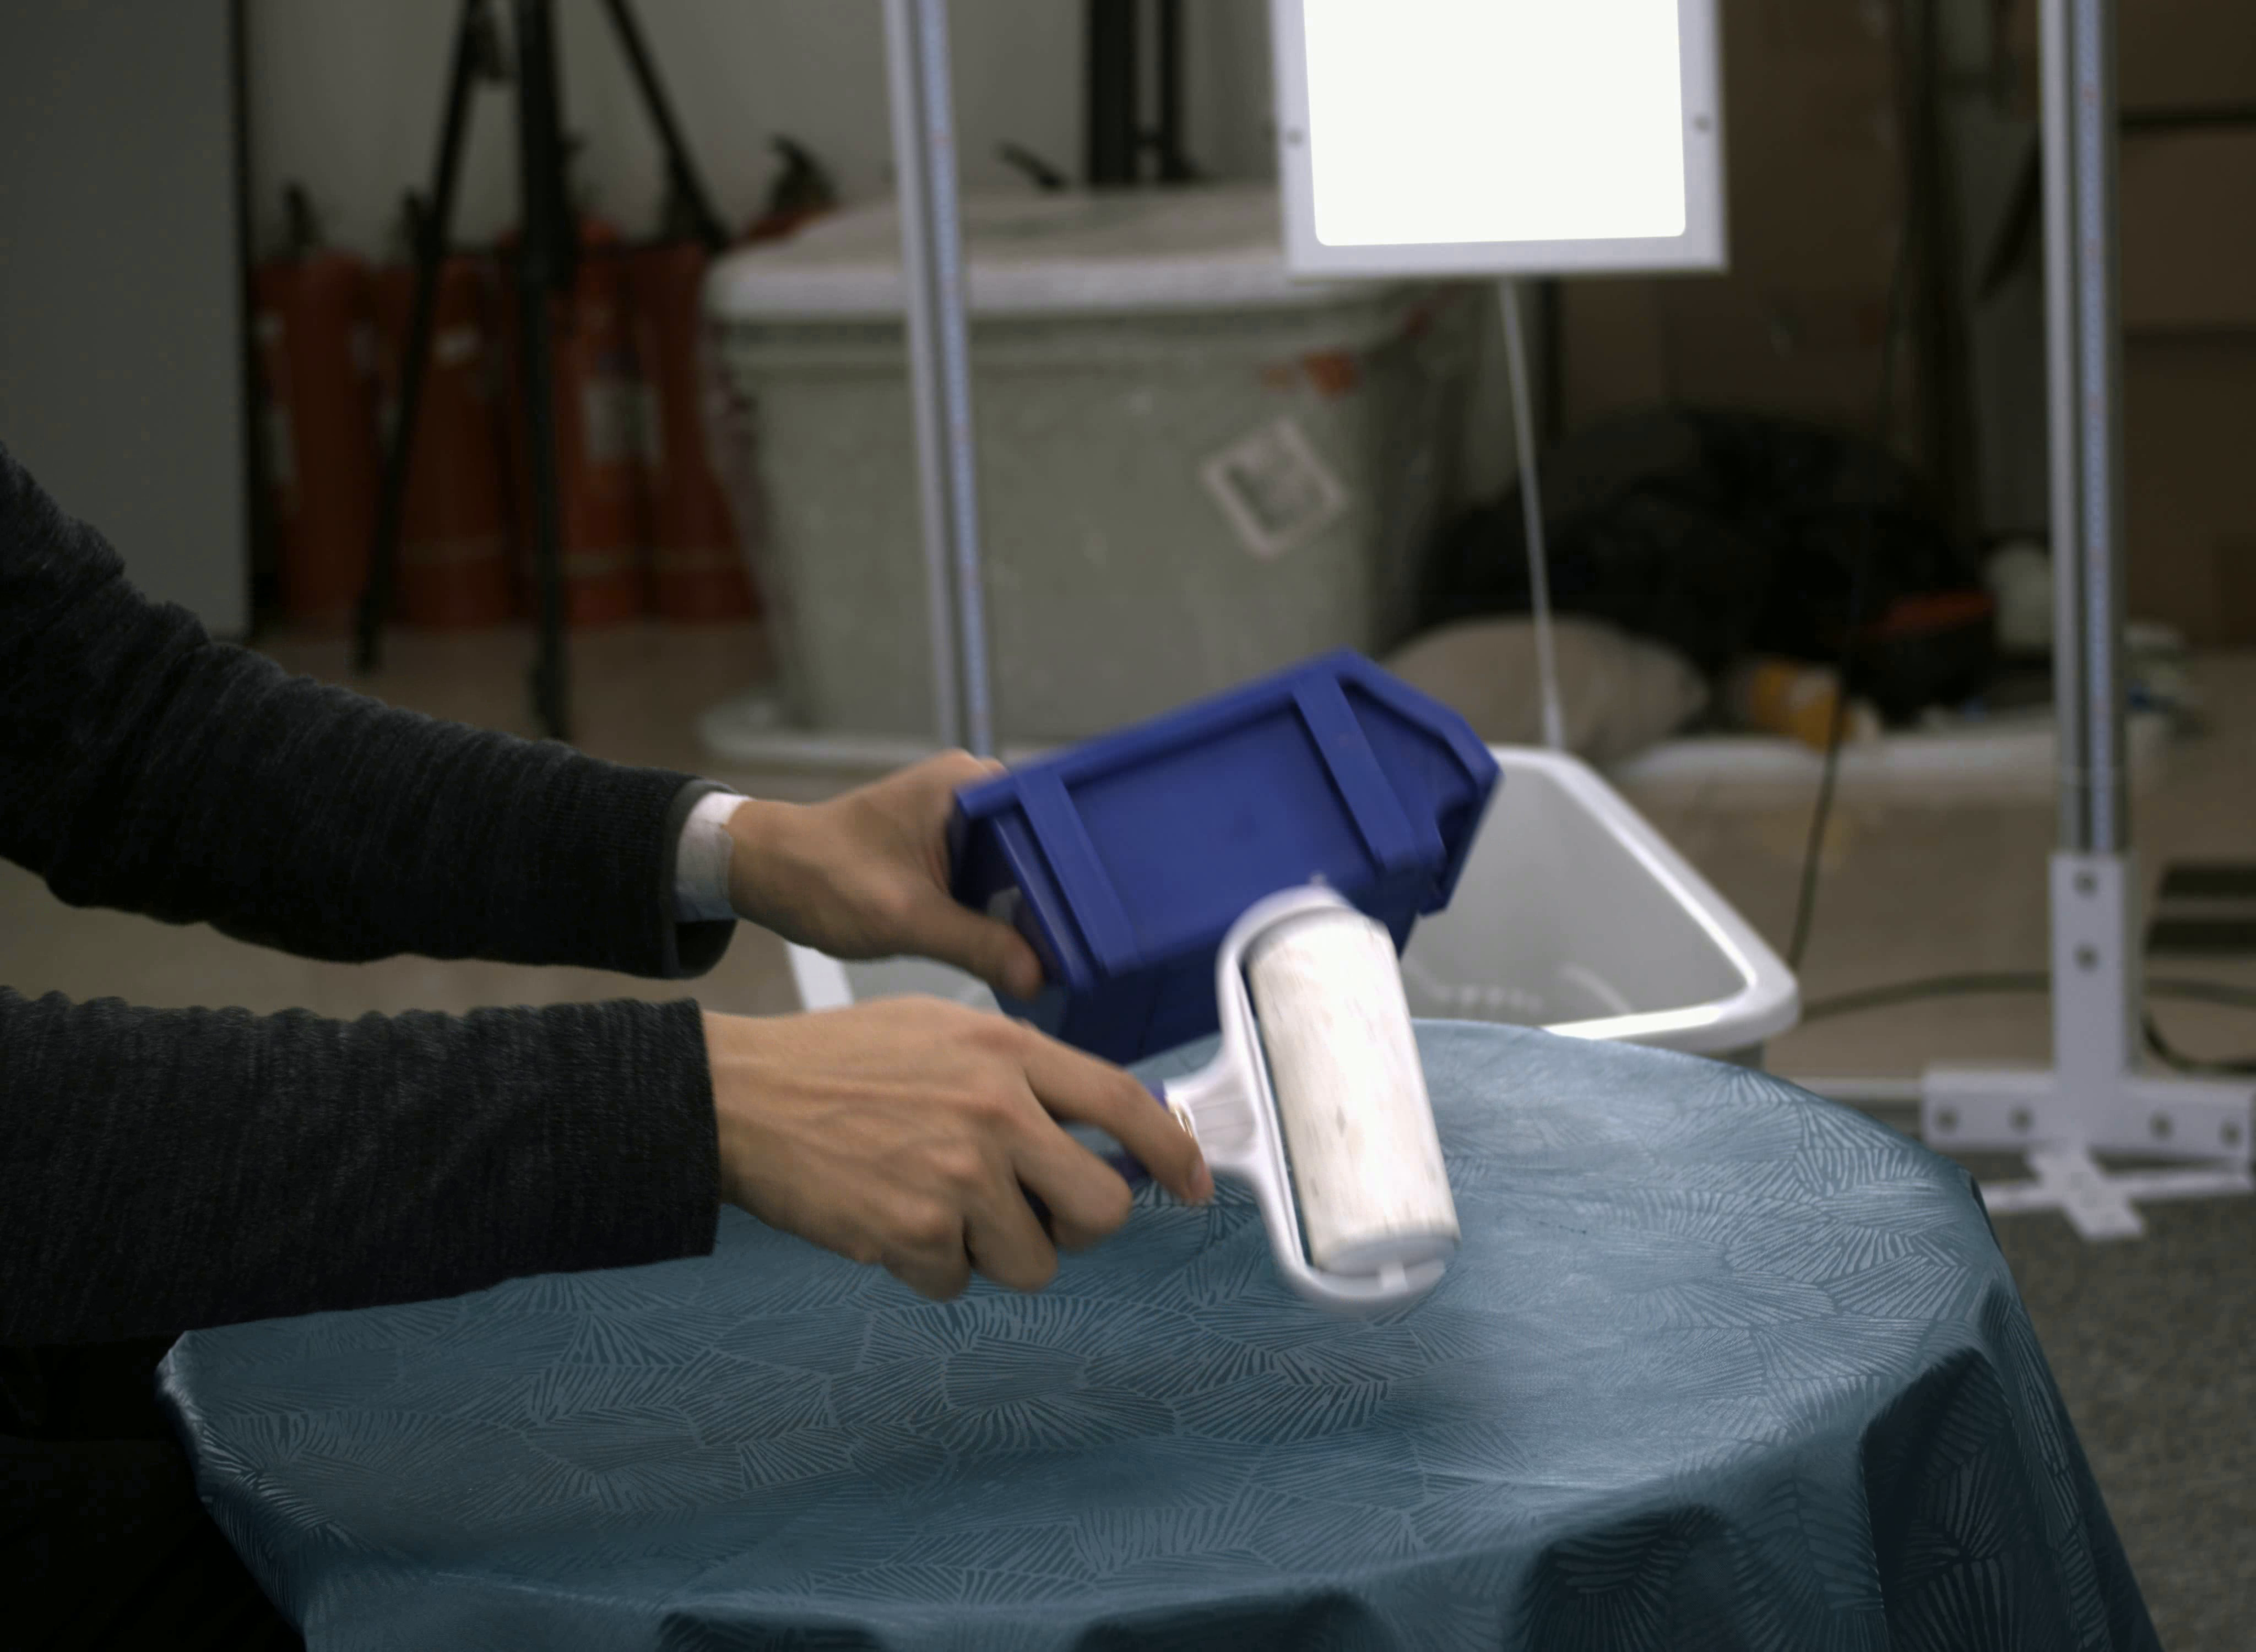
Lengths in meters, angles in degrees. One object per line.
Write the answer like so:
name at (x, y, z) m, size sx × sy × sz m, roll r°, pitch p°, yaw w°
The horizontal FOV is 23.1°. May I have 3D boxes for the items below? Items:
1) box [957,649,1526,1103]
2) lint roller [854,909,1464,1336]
box at (0.041, 0.017, 1.913) m, size 0.177 × 0.082 × 0.125 m, roll -23°, pitch -18°, yaw -13°
lint roller at (0.008, 0.093, 1.668) m, size 0.178 × 0.133 × 0.051 m, roll -3°, pitch -23°, yaw -15°
